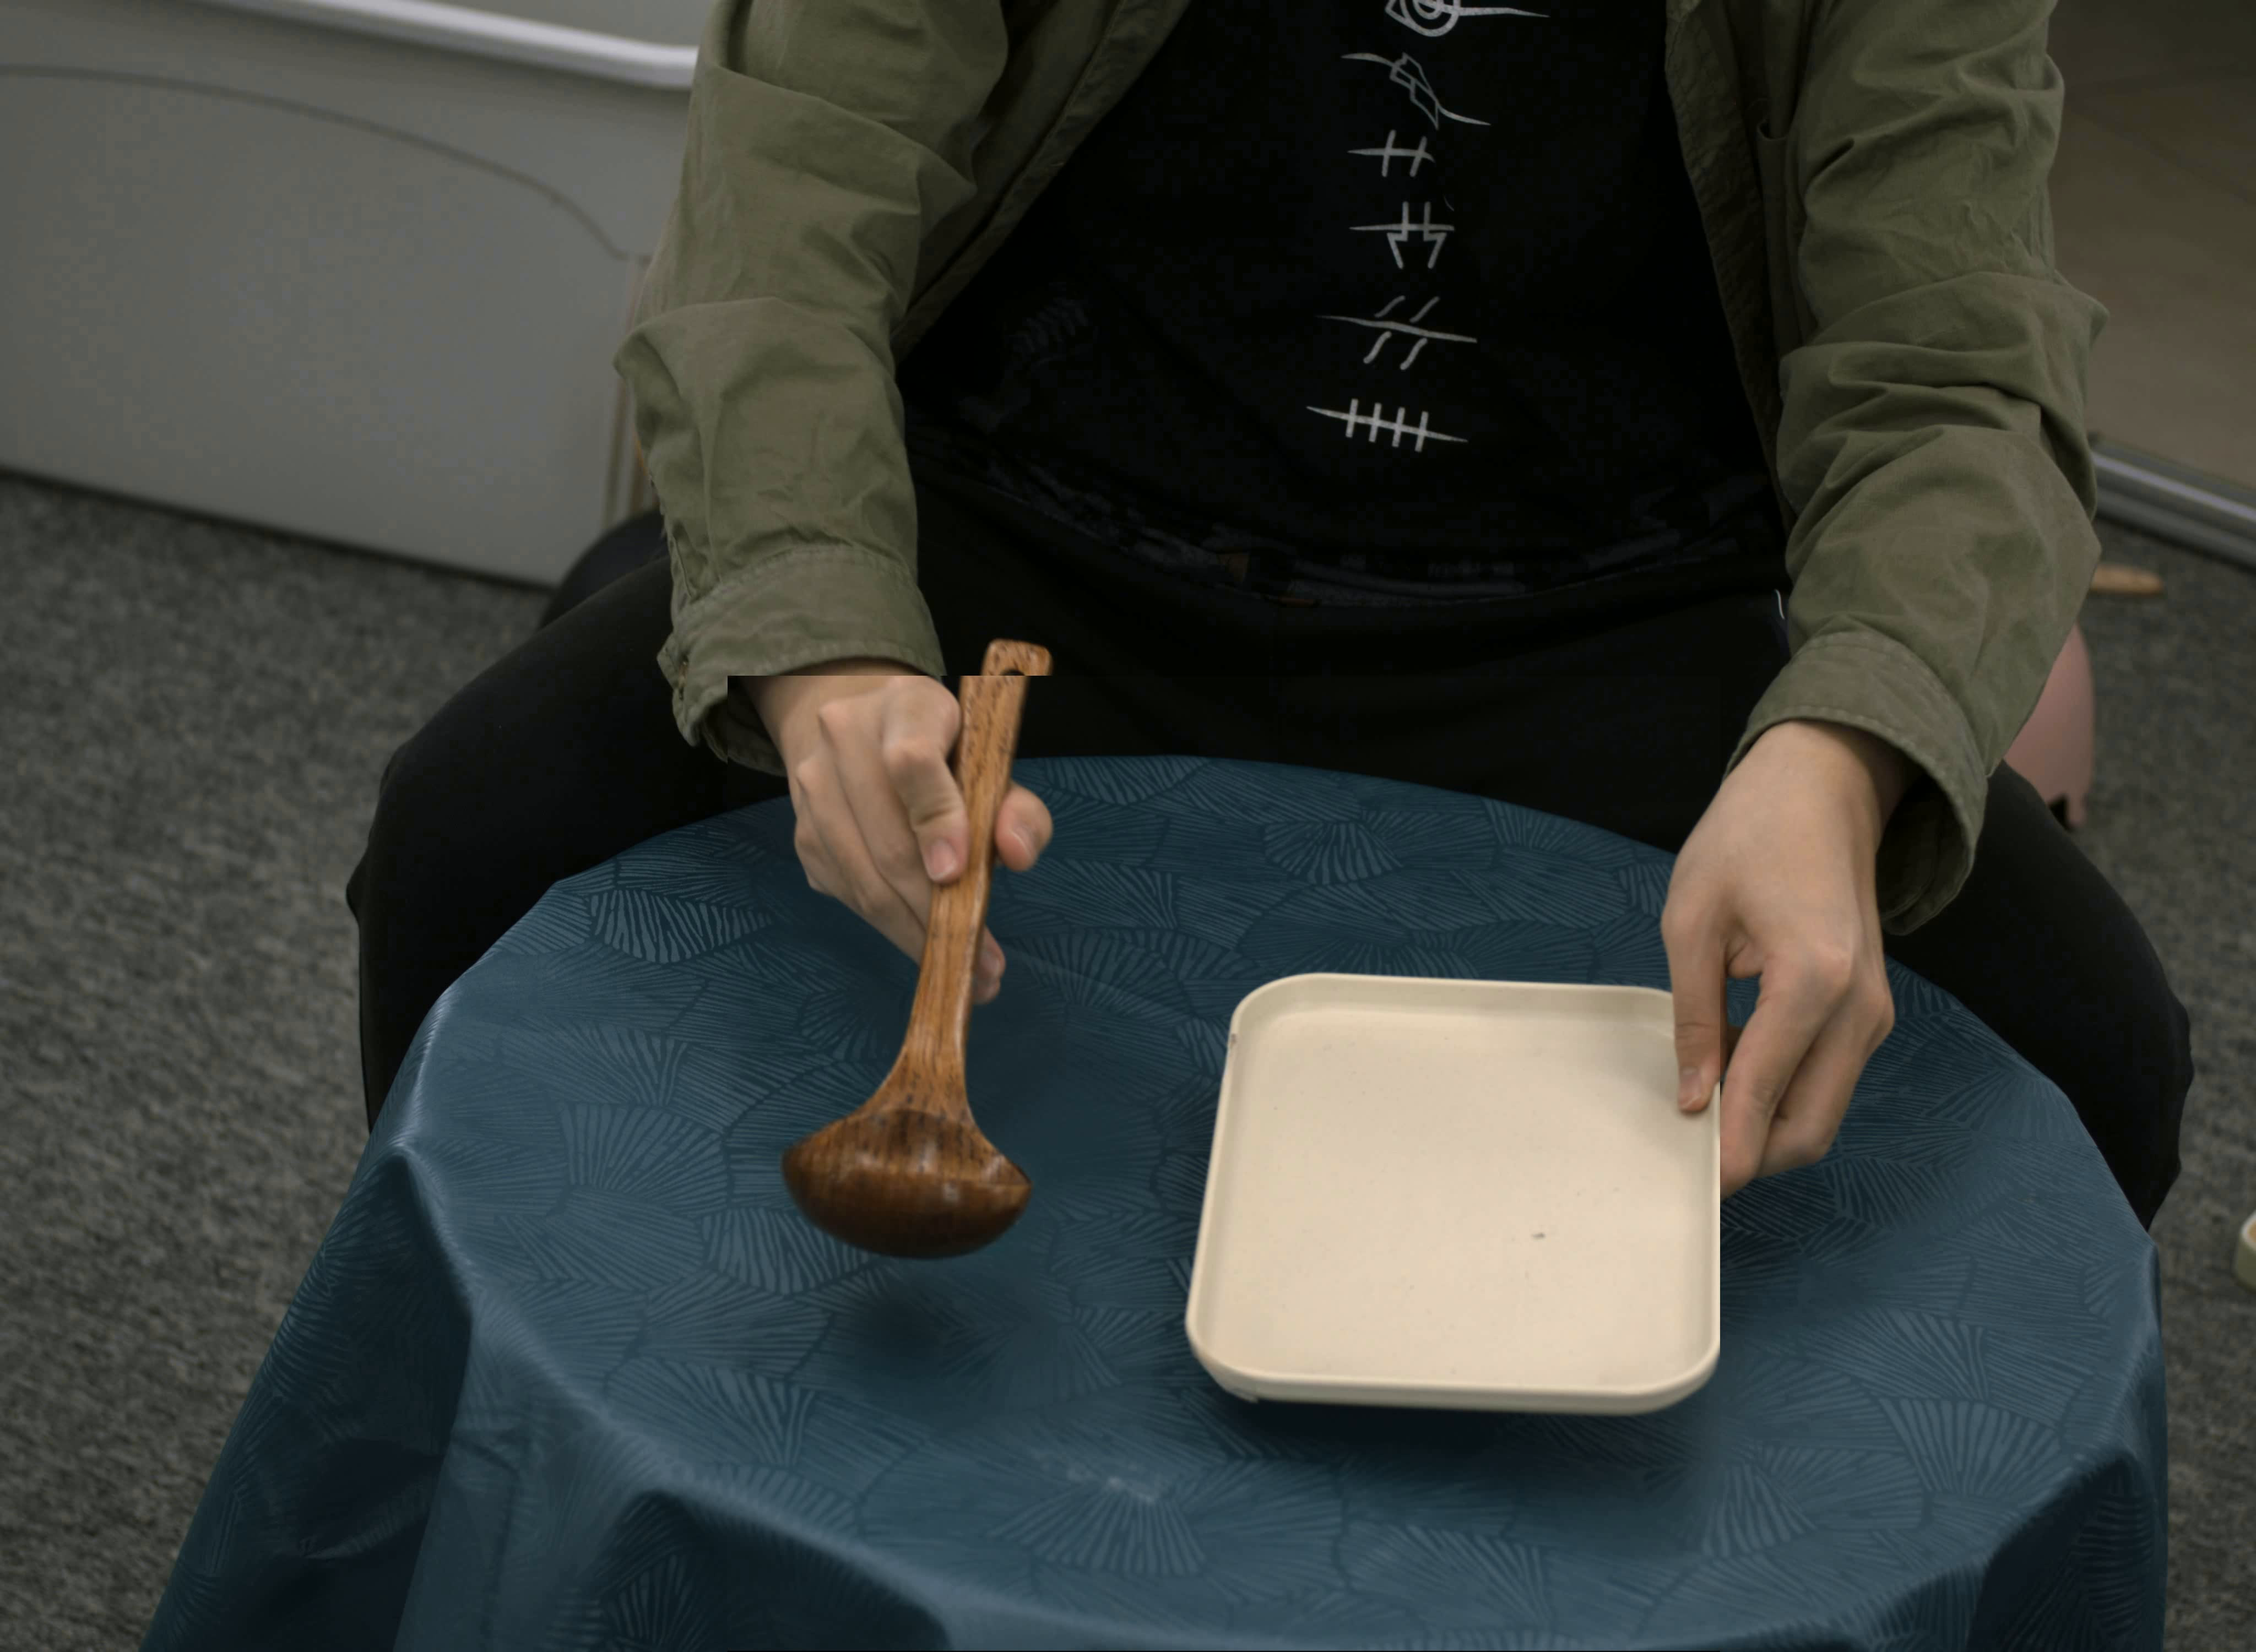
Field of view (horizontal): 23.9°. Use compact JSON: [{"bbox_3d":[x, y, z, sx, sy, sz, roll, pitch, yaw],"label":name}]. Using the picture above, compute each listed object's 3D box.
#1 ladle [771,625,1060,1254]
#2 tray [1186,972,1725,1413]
[{"bbox_3d":[-0.056,0.025,1.746,0.081,0.076,0.276,13,55,-2],"label":"ladle"},{"bbox_3d":[0.111,0.119,1.749,0.171,0.017,0.241,2,30,6],"label":"tray"}]
